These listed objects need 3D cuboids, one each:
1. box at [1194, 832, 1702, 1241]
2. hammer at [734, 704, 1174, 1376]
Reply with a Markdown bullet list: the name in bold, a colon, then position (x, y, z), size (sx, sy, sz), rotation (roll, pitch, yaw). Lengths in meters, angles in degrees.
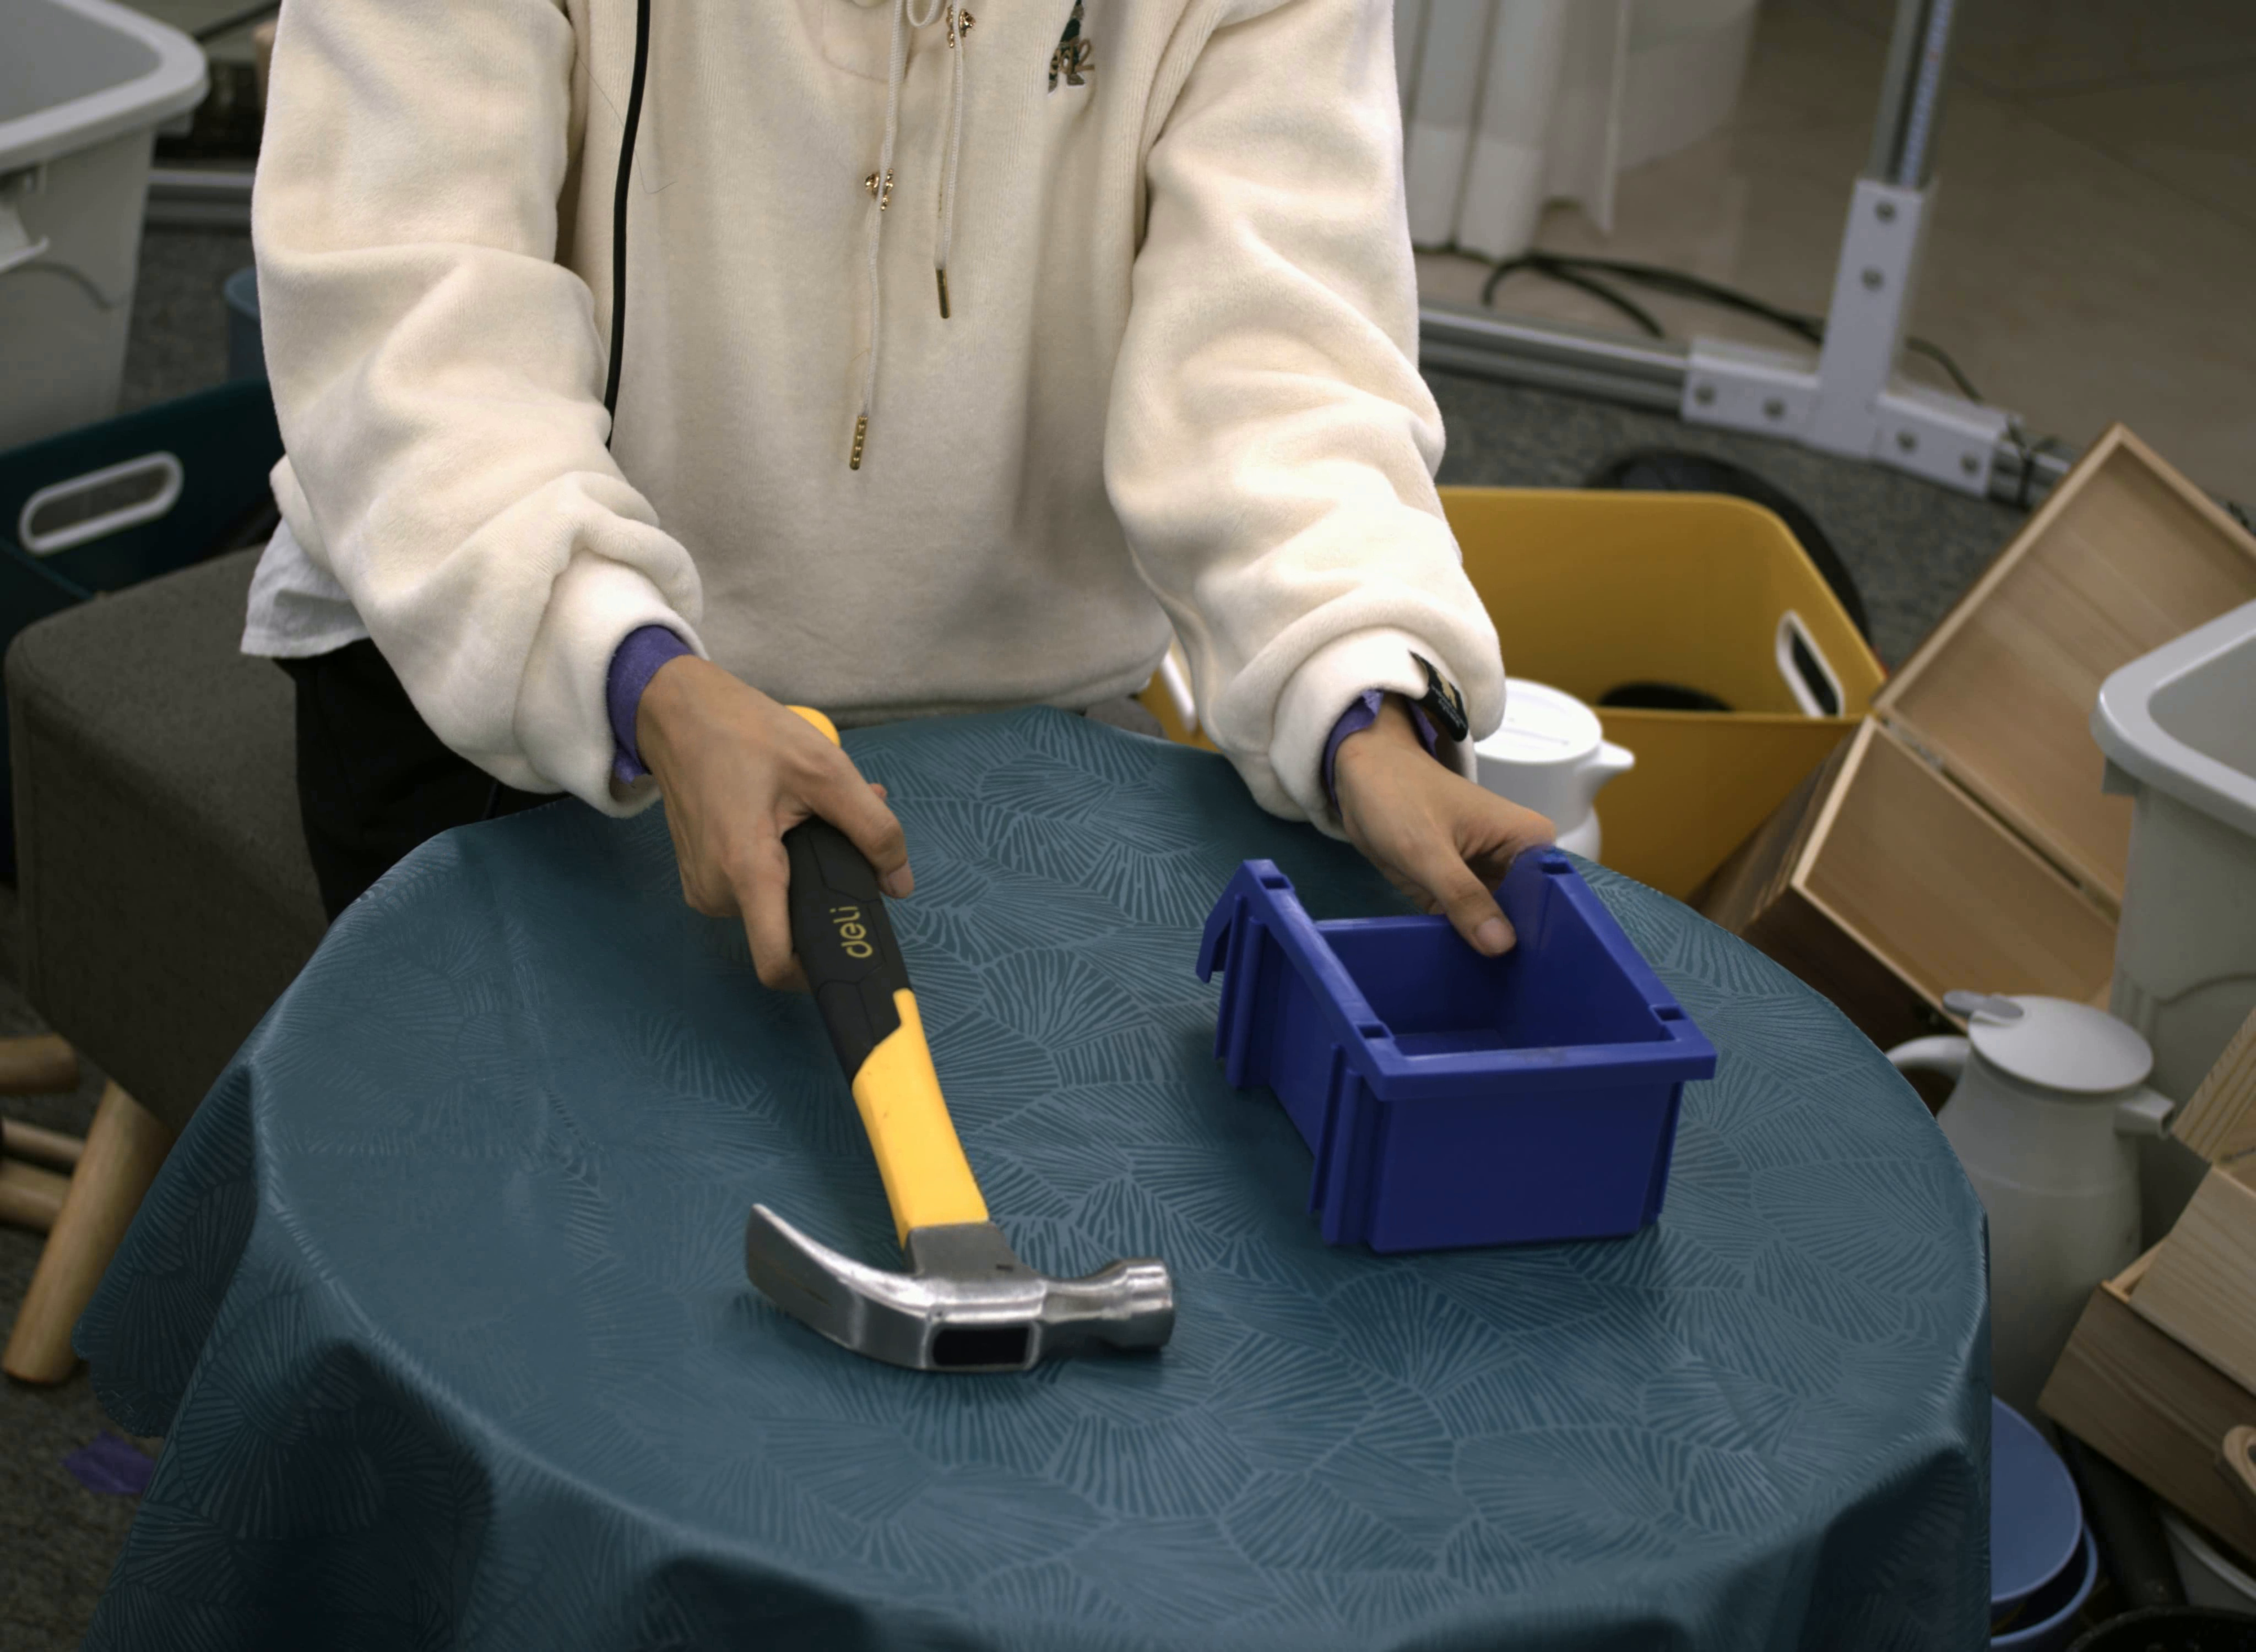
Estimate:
- **box**: position (0.105, 0.067, 1.847), size (0.124, 0.081, 0.181), rotation (-2, 30, -17)
- **hammer**: position (-0.086, 0.064, 1.813), size (0.131, 0.032, 0.341), rotation (-3, 37, -14)
